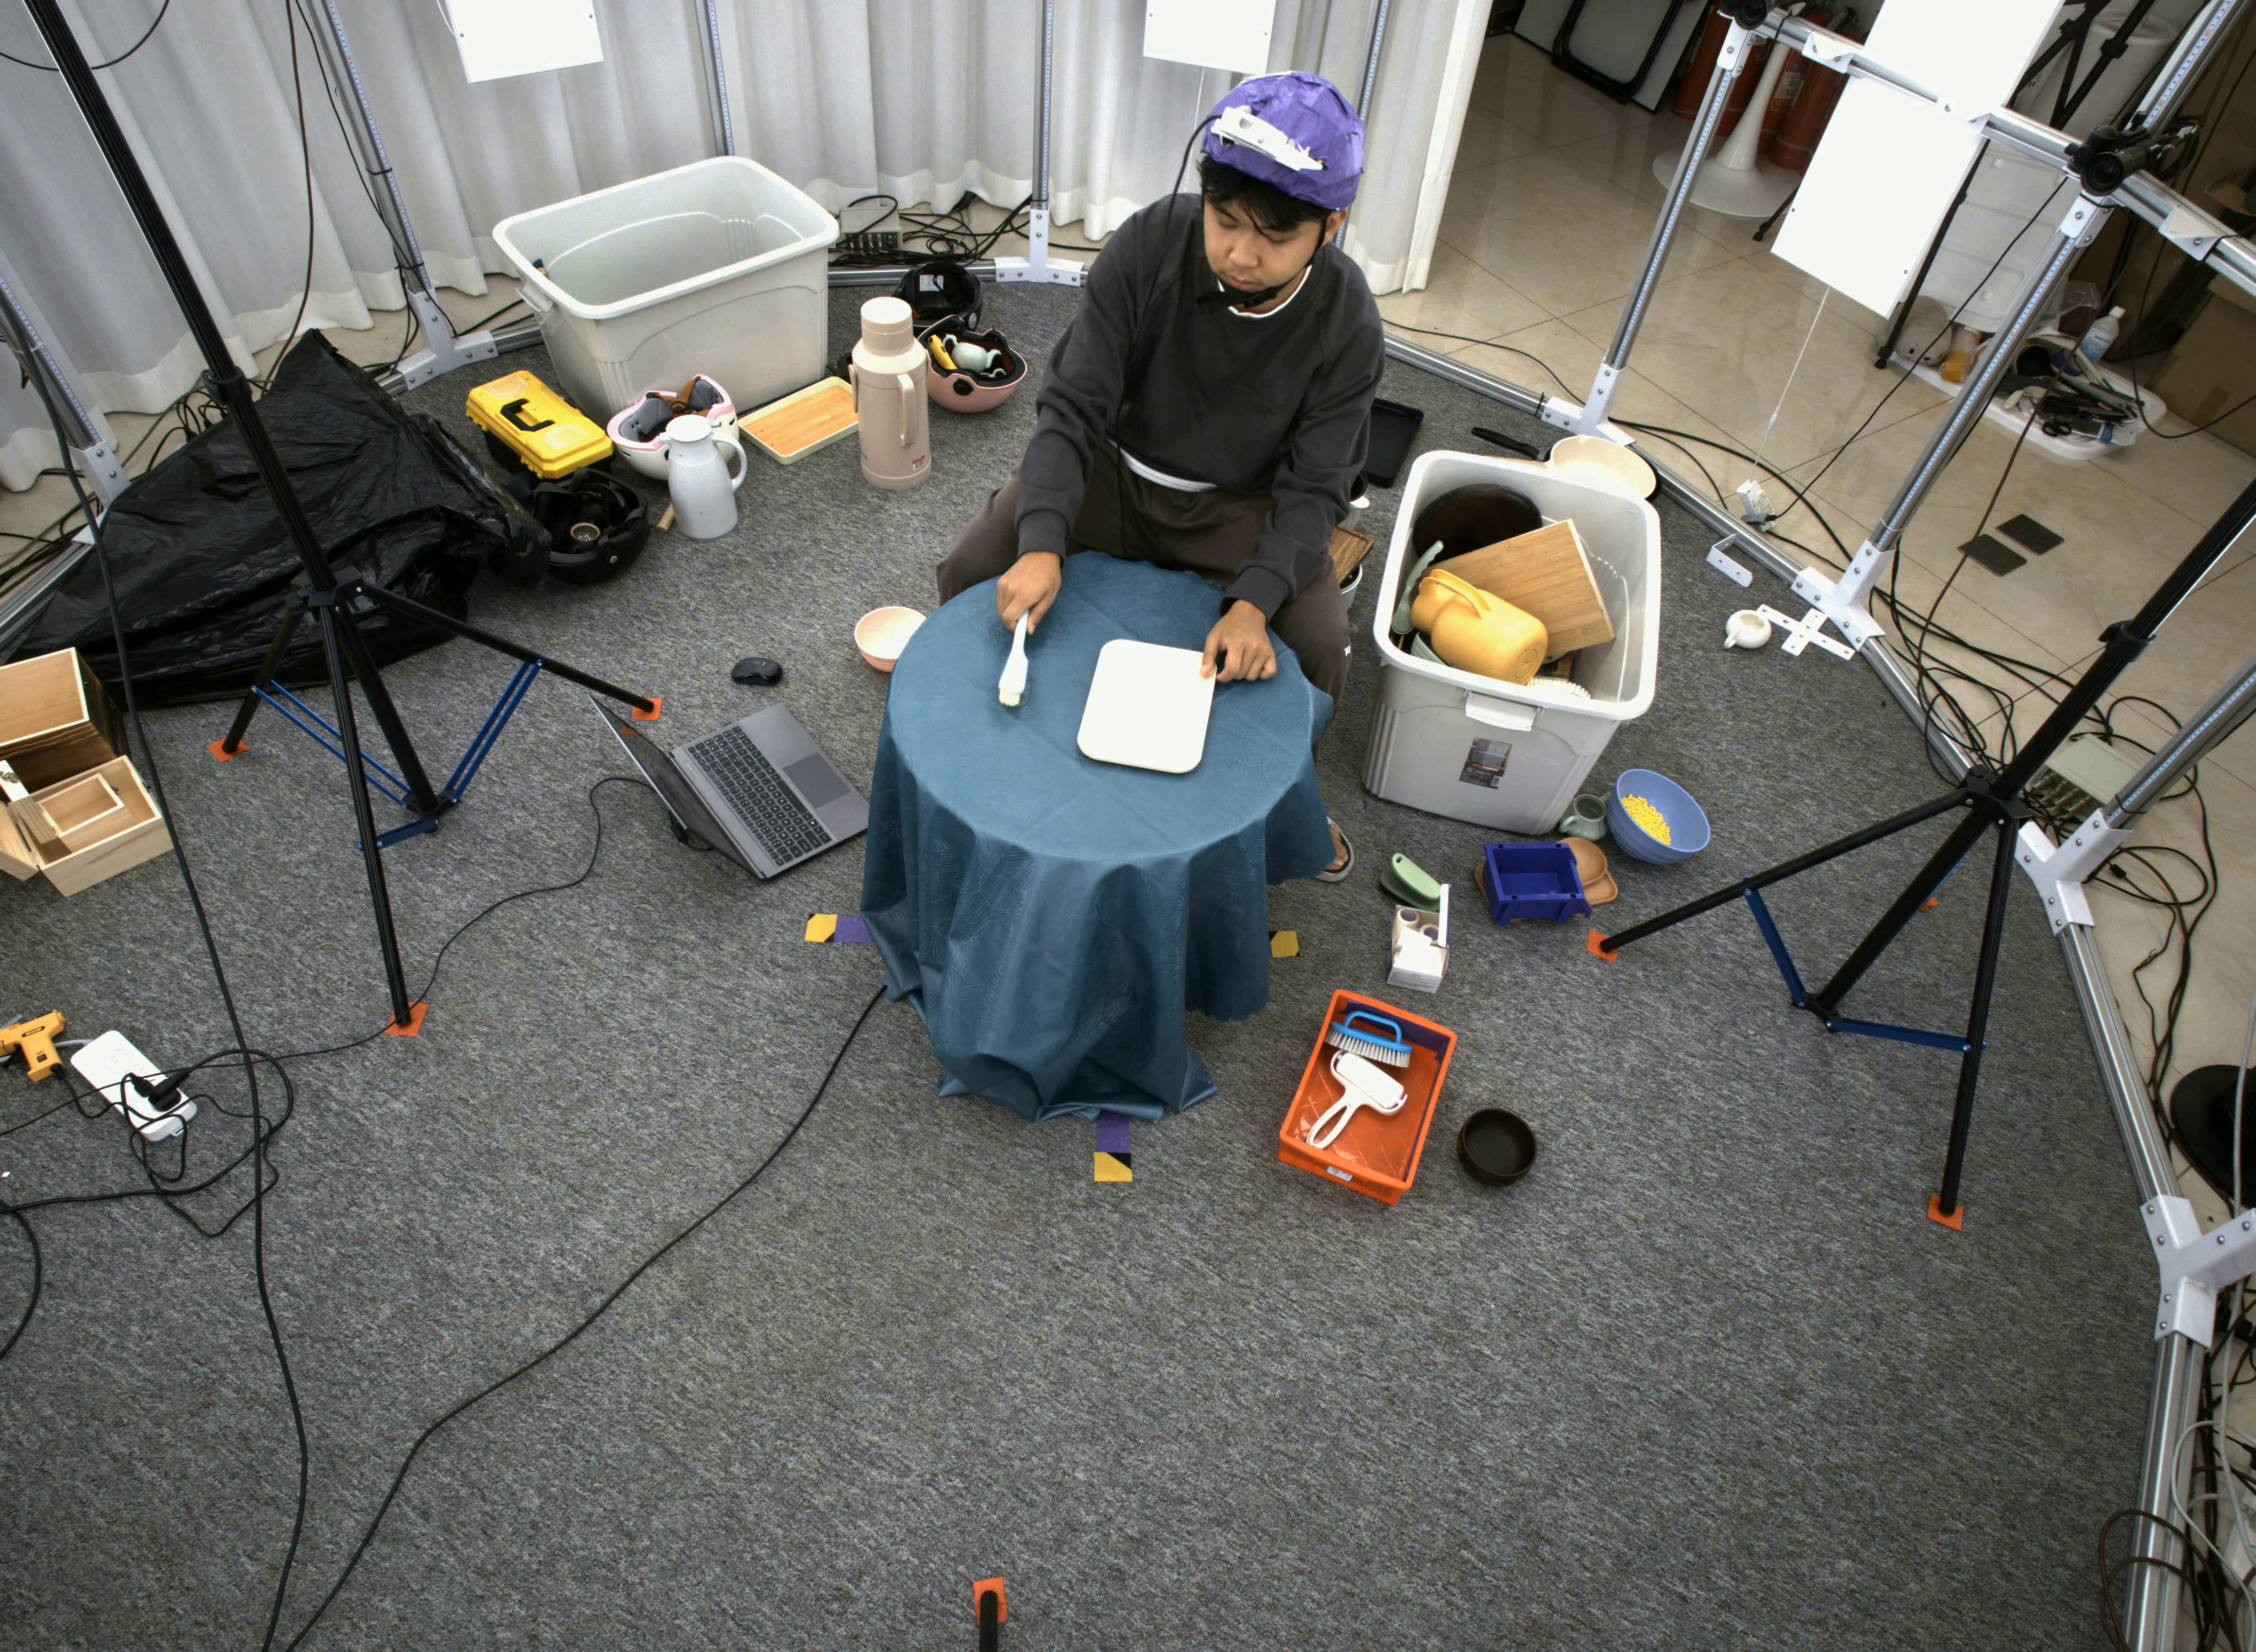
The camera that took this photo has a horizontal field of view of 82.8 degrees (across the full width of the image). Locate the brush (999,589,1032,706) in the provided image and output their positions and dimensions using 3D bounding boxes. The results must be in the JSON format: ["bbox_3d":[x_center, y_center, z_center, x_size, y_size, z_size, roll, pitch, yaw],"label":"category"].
[{"bbox_3d":[-0.158,-0.261,1.844,0.037,0.048,0.234,8,50,-8],"label":"brush"}]

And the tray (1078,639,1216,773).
[{"bbox_3d":[0.029,-0.170,1.803,0.171,0.017,0.245,10,49,4],"label":"tray"}]
